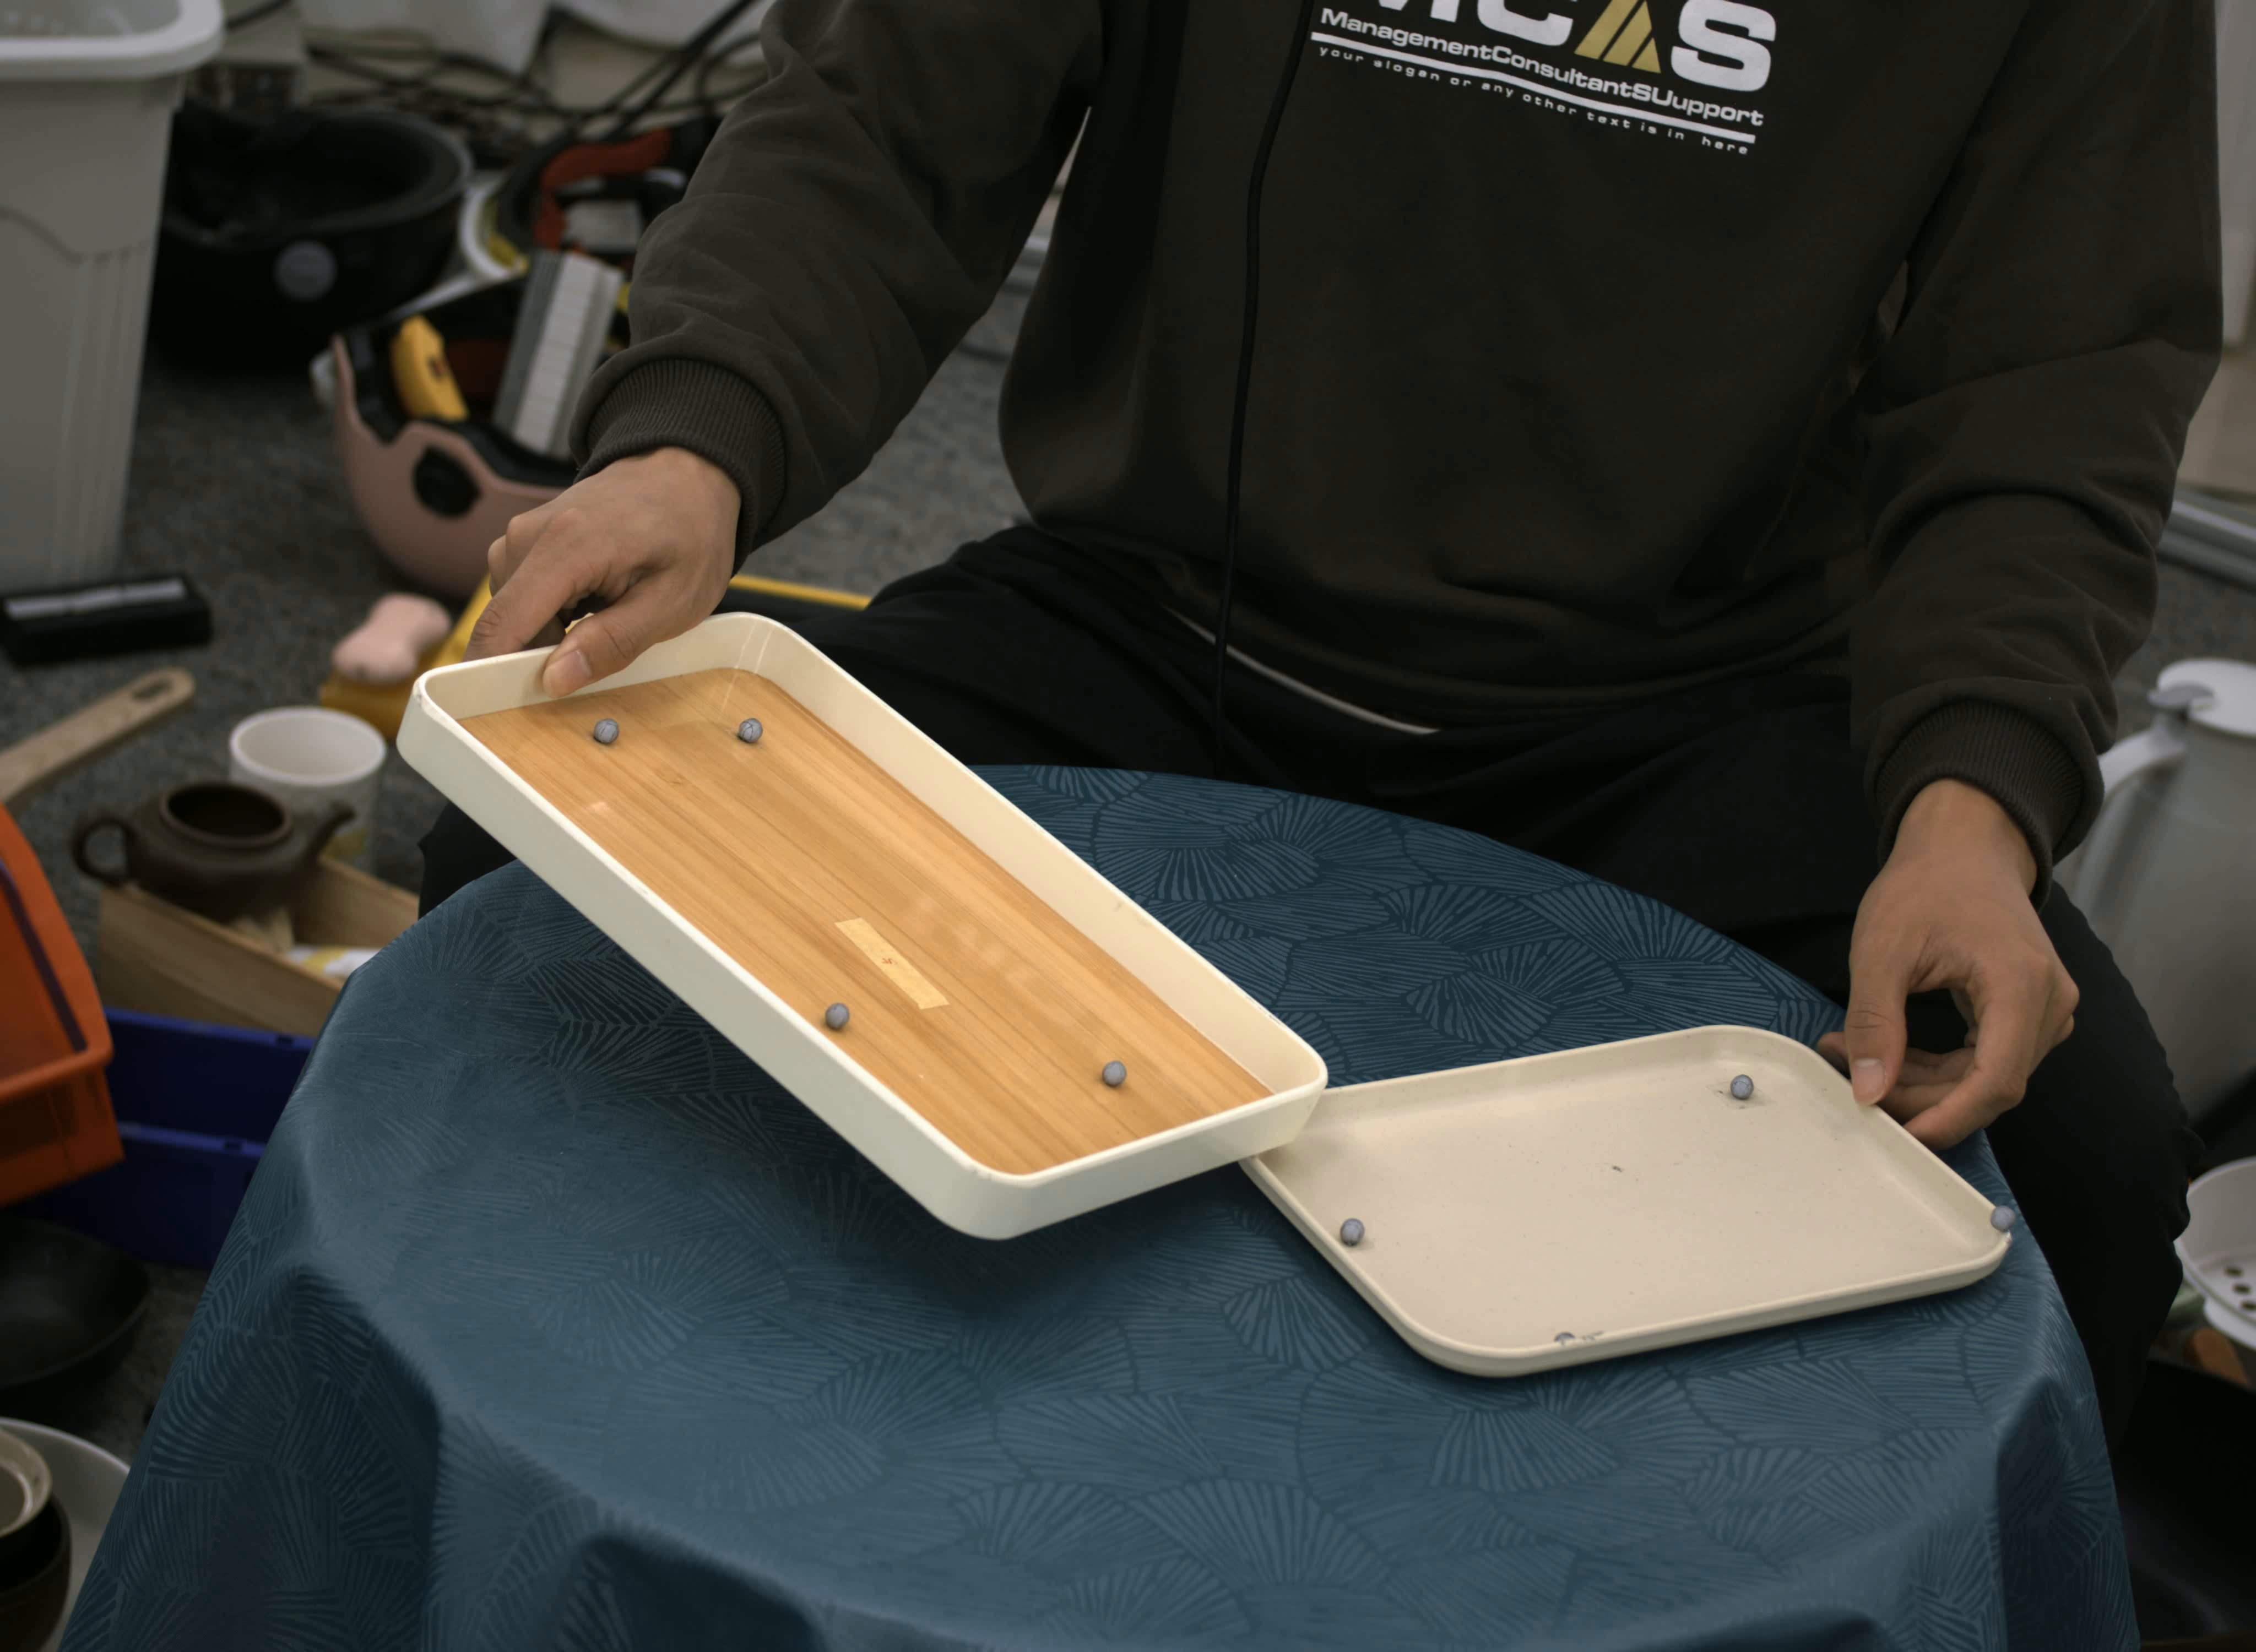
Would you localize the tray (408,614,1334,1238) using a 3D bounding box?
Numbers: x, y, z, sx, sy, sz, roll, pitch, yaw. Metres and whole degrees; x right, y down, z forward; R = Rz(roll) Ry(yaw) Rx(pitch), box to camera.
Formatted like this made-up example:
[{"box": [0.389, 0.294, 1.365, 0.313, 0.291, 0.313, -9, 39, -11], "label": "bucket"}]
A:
[{"box": [-0.089, 0.028, 1.822, 0.302, 0.027, 0.190, 38, 30, 27], "label": "tray"}]

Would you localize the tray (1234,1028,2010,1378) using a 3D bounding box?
[{"box": [0.168, 0.128, 1.819, 0.238, 0.017, 0.173, -8, 29, -27], "label": "tray"}]
